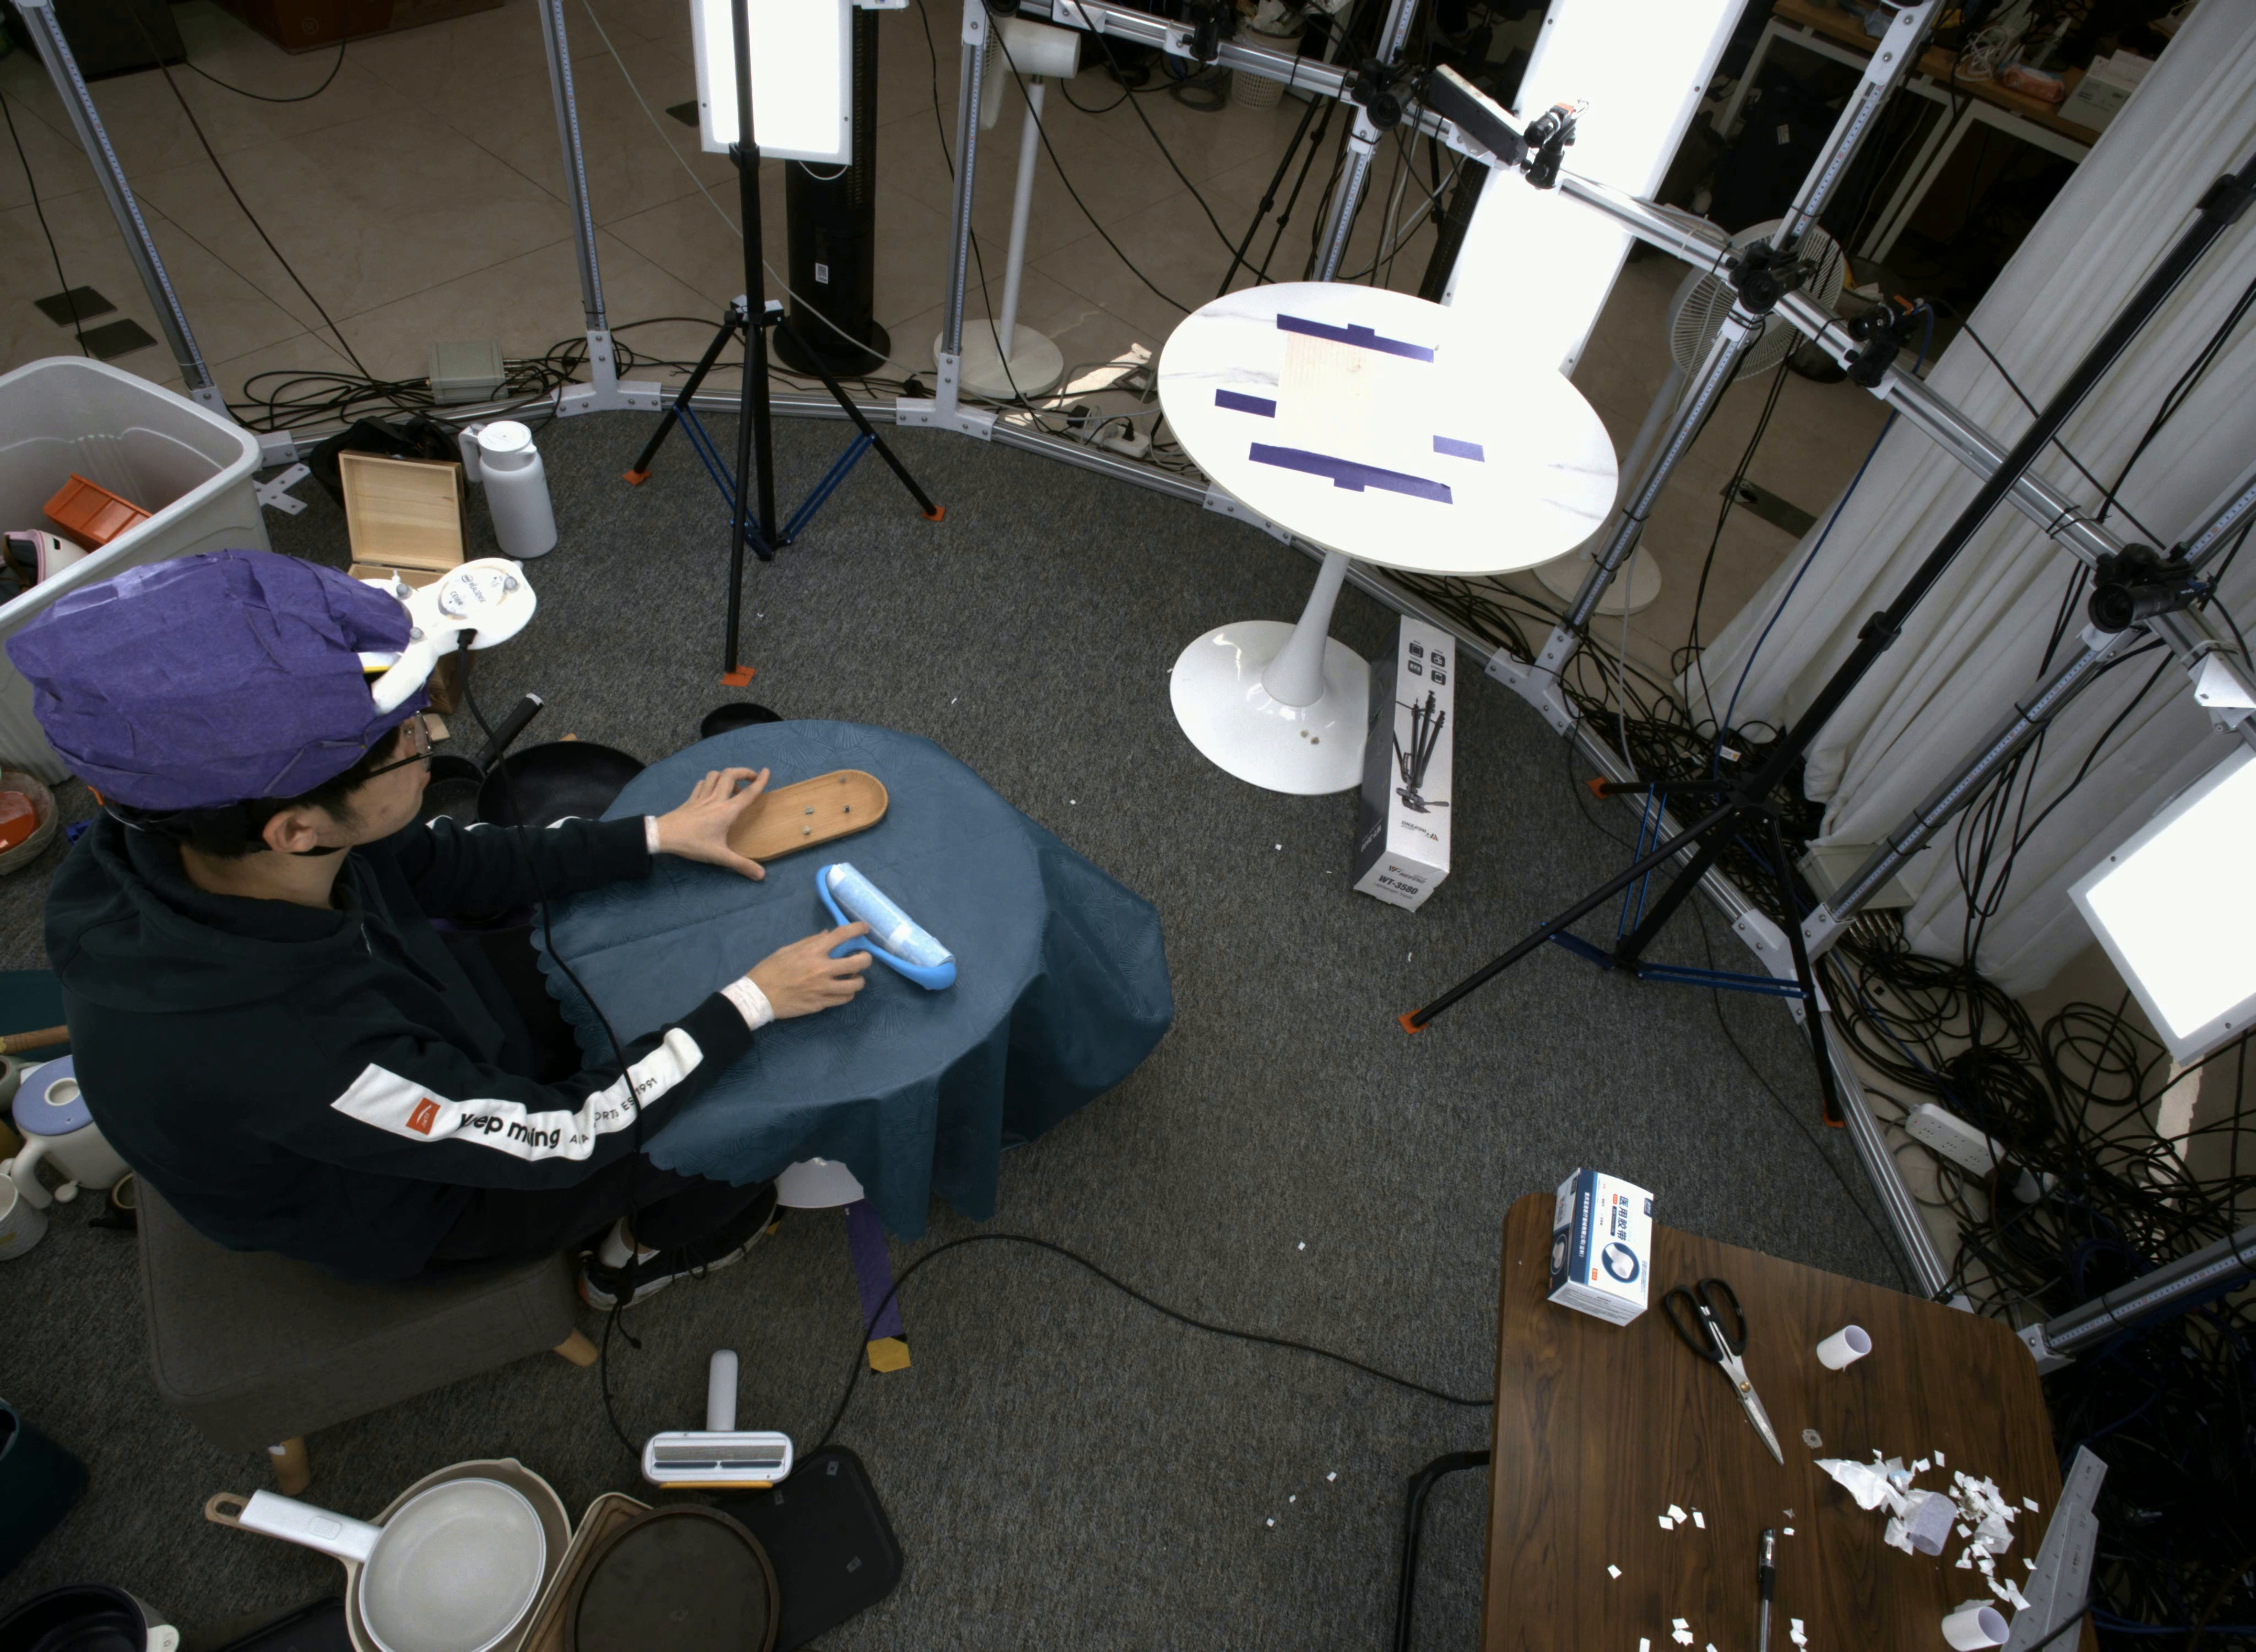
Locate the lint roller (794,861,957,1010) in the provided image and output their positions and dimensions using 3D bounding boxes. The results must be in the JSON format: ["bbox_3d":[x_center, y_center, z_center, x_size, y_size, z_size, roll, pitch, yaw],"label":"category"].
[{"bbox_3d":[-0.339,0.153,1.602,0.225,0.069,0.180,38,53,12],"label":"lint roller"}]

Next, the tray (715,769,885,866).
[{"bbox_3d":[-0.434,-0.012,1.726,0.232,0.021,0.099,-22,61,-26],"label":"tray"}]
